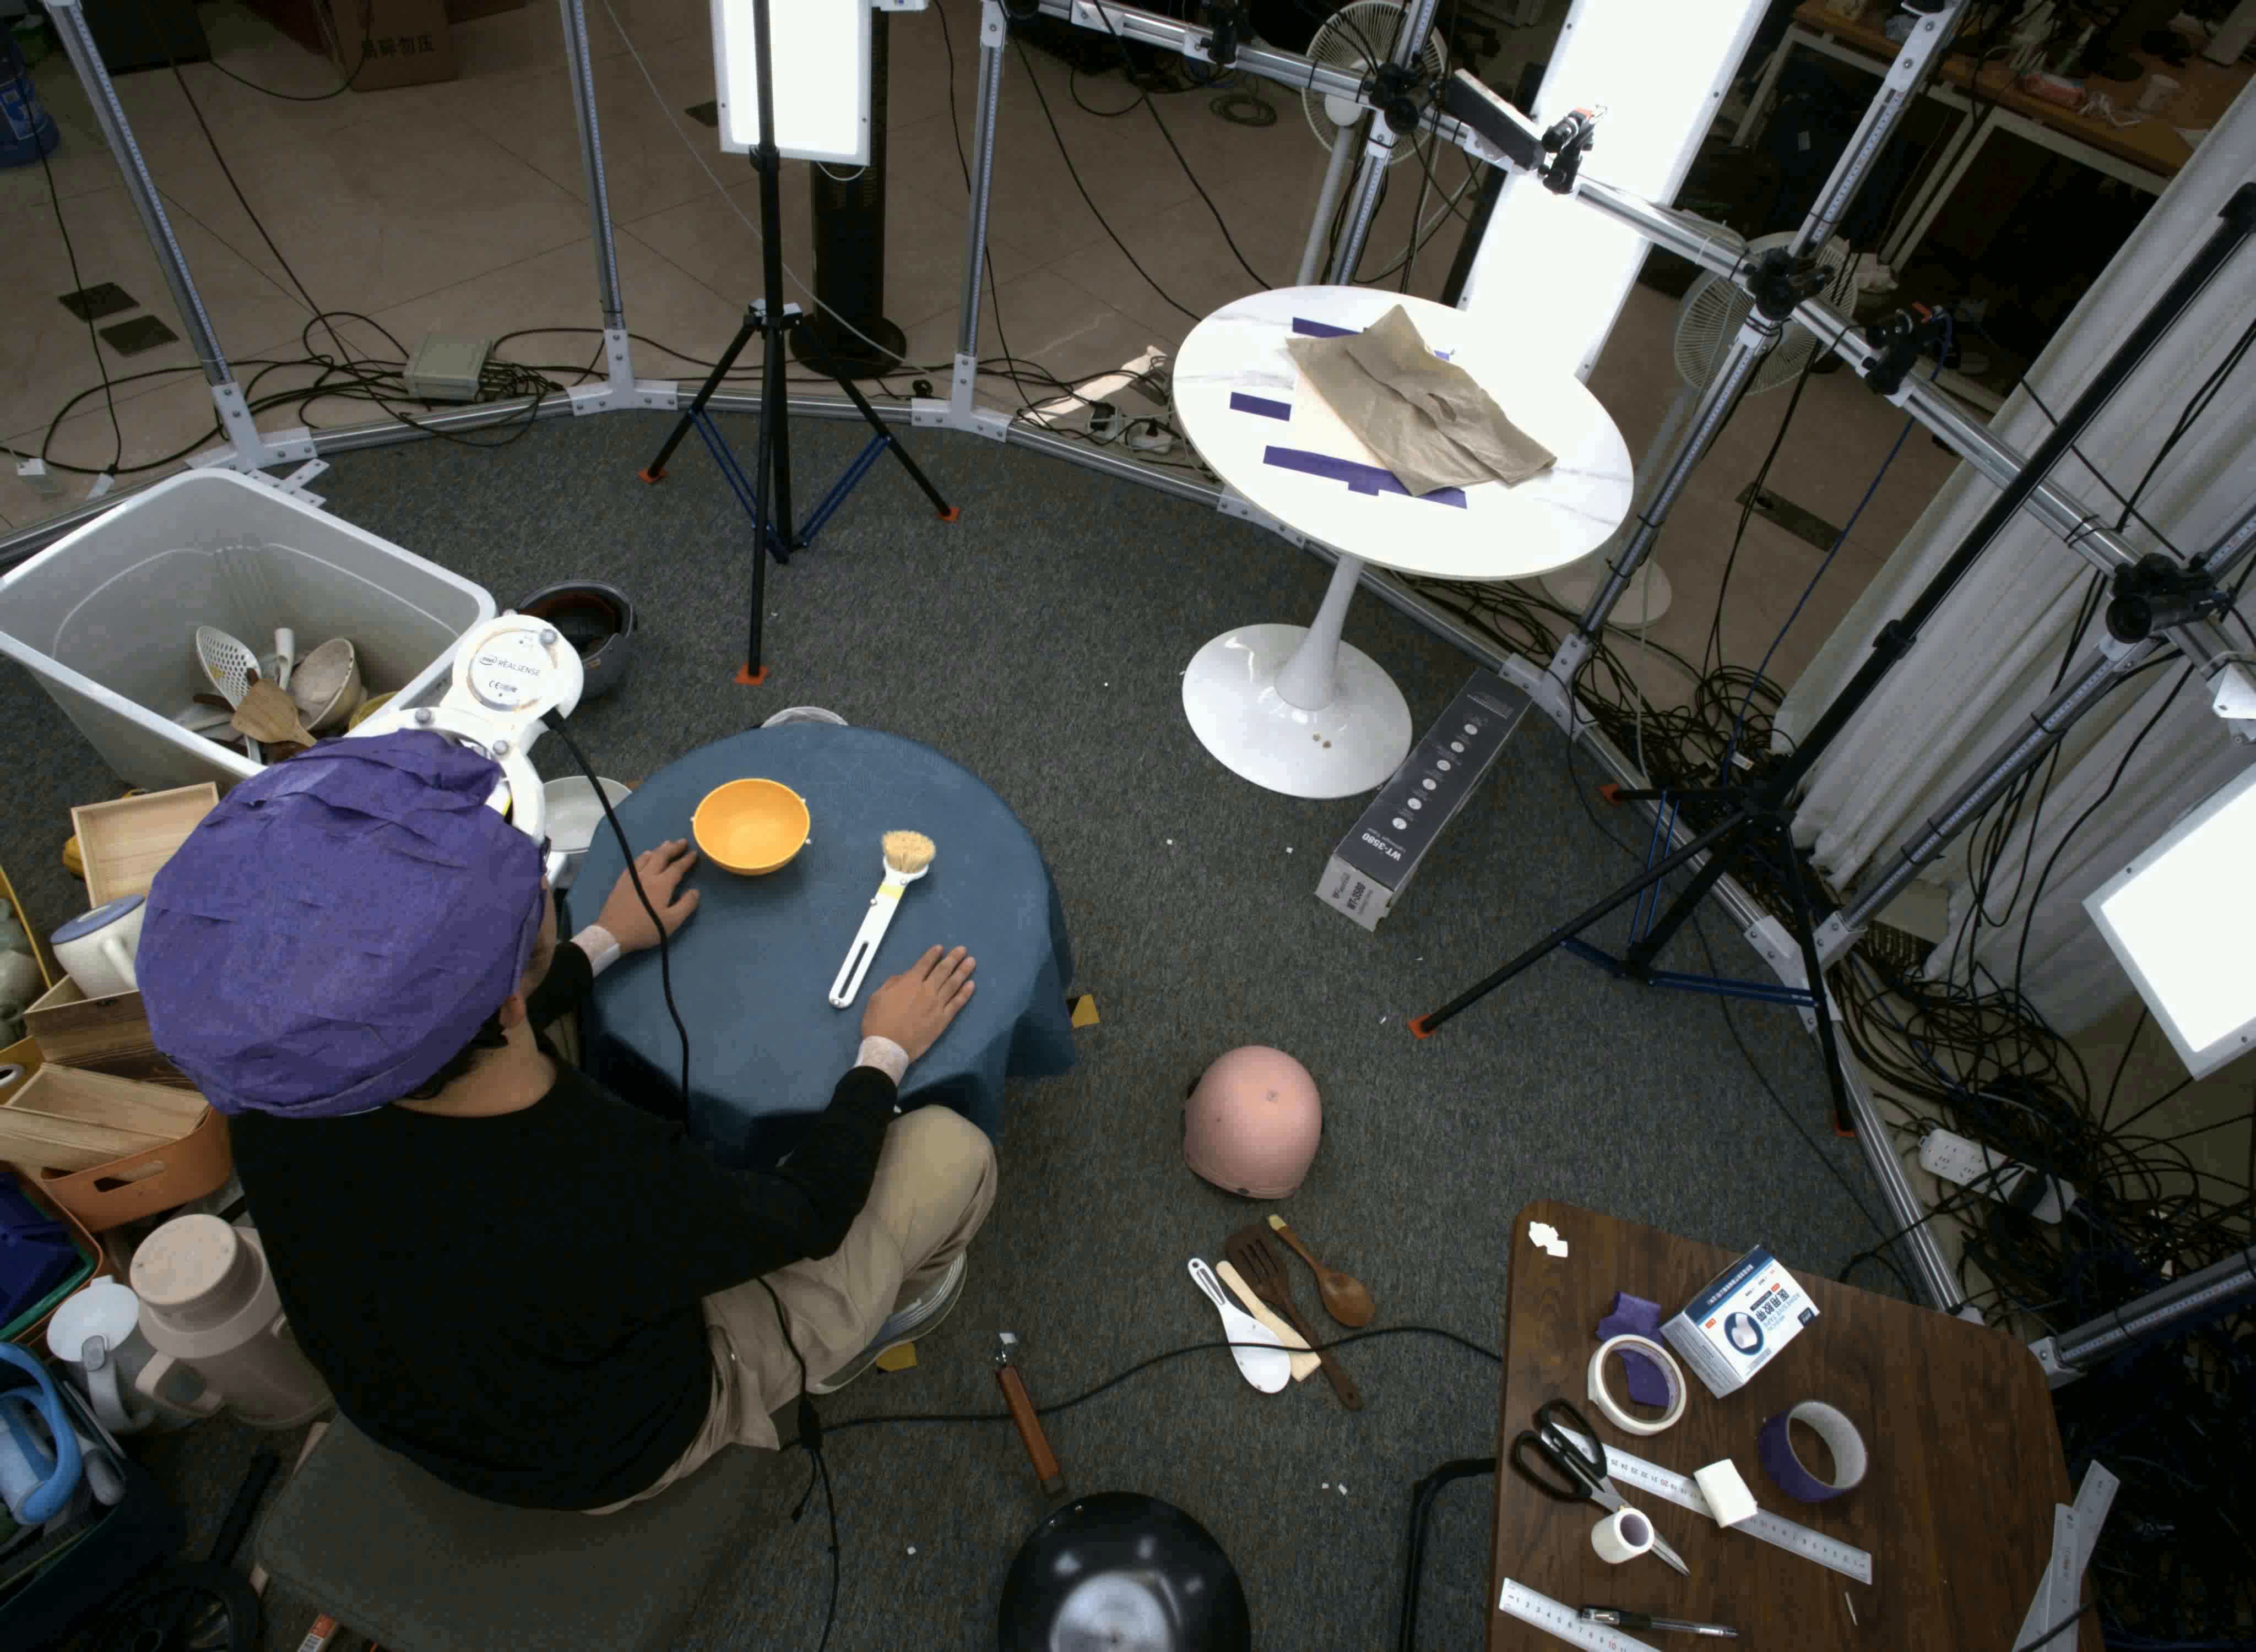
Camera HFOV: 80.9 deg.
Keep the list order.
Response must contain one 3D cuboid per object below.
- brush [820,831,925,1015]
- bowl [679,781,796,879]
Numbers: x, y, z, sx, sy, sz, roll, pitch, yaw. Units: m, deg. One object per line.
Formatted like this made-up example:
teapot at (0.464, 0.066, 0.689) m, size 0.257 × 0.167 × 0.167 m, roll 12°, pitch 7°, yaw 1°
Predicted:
brush at (-0.324, 0.111, 1.627) m, size 0.067 × 0.057 × 0.264 m, roll 16°, pitch 52°, yaw 5°
bowl at (-0.496, 0.015, 1.651) m, size 0.145 × 0.061 × 0.143 m, roll 7°, pitch 52°, yaw -7°
